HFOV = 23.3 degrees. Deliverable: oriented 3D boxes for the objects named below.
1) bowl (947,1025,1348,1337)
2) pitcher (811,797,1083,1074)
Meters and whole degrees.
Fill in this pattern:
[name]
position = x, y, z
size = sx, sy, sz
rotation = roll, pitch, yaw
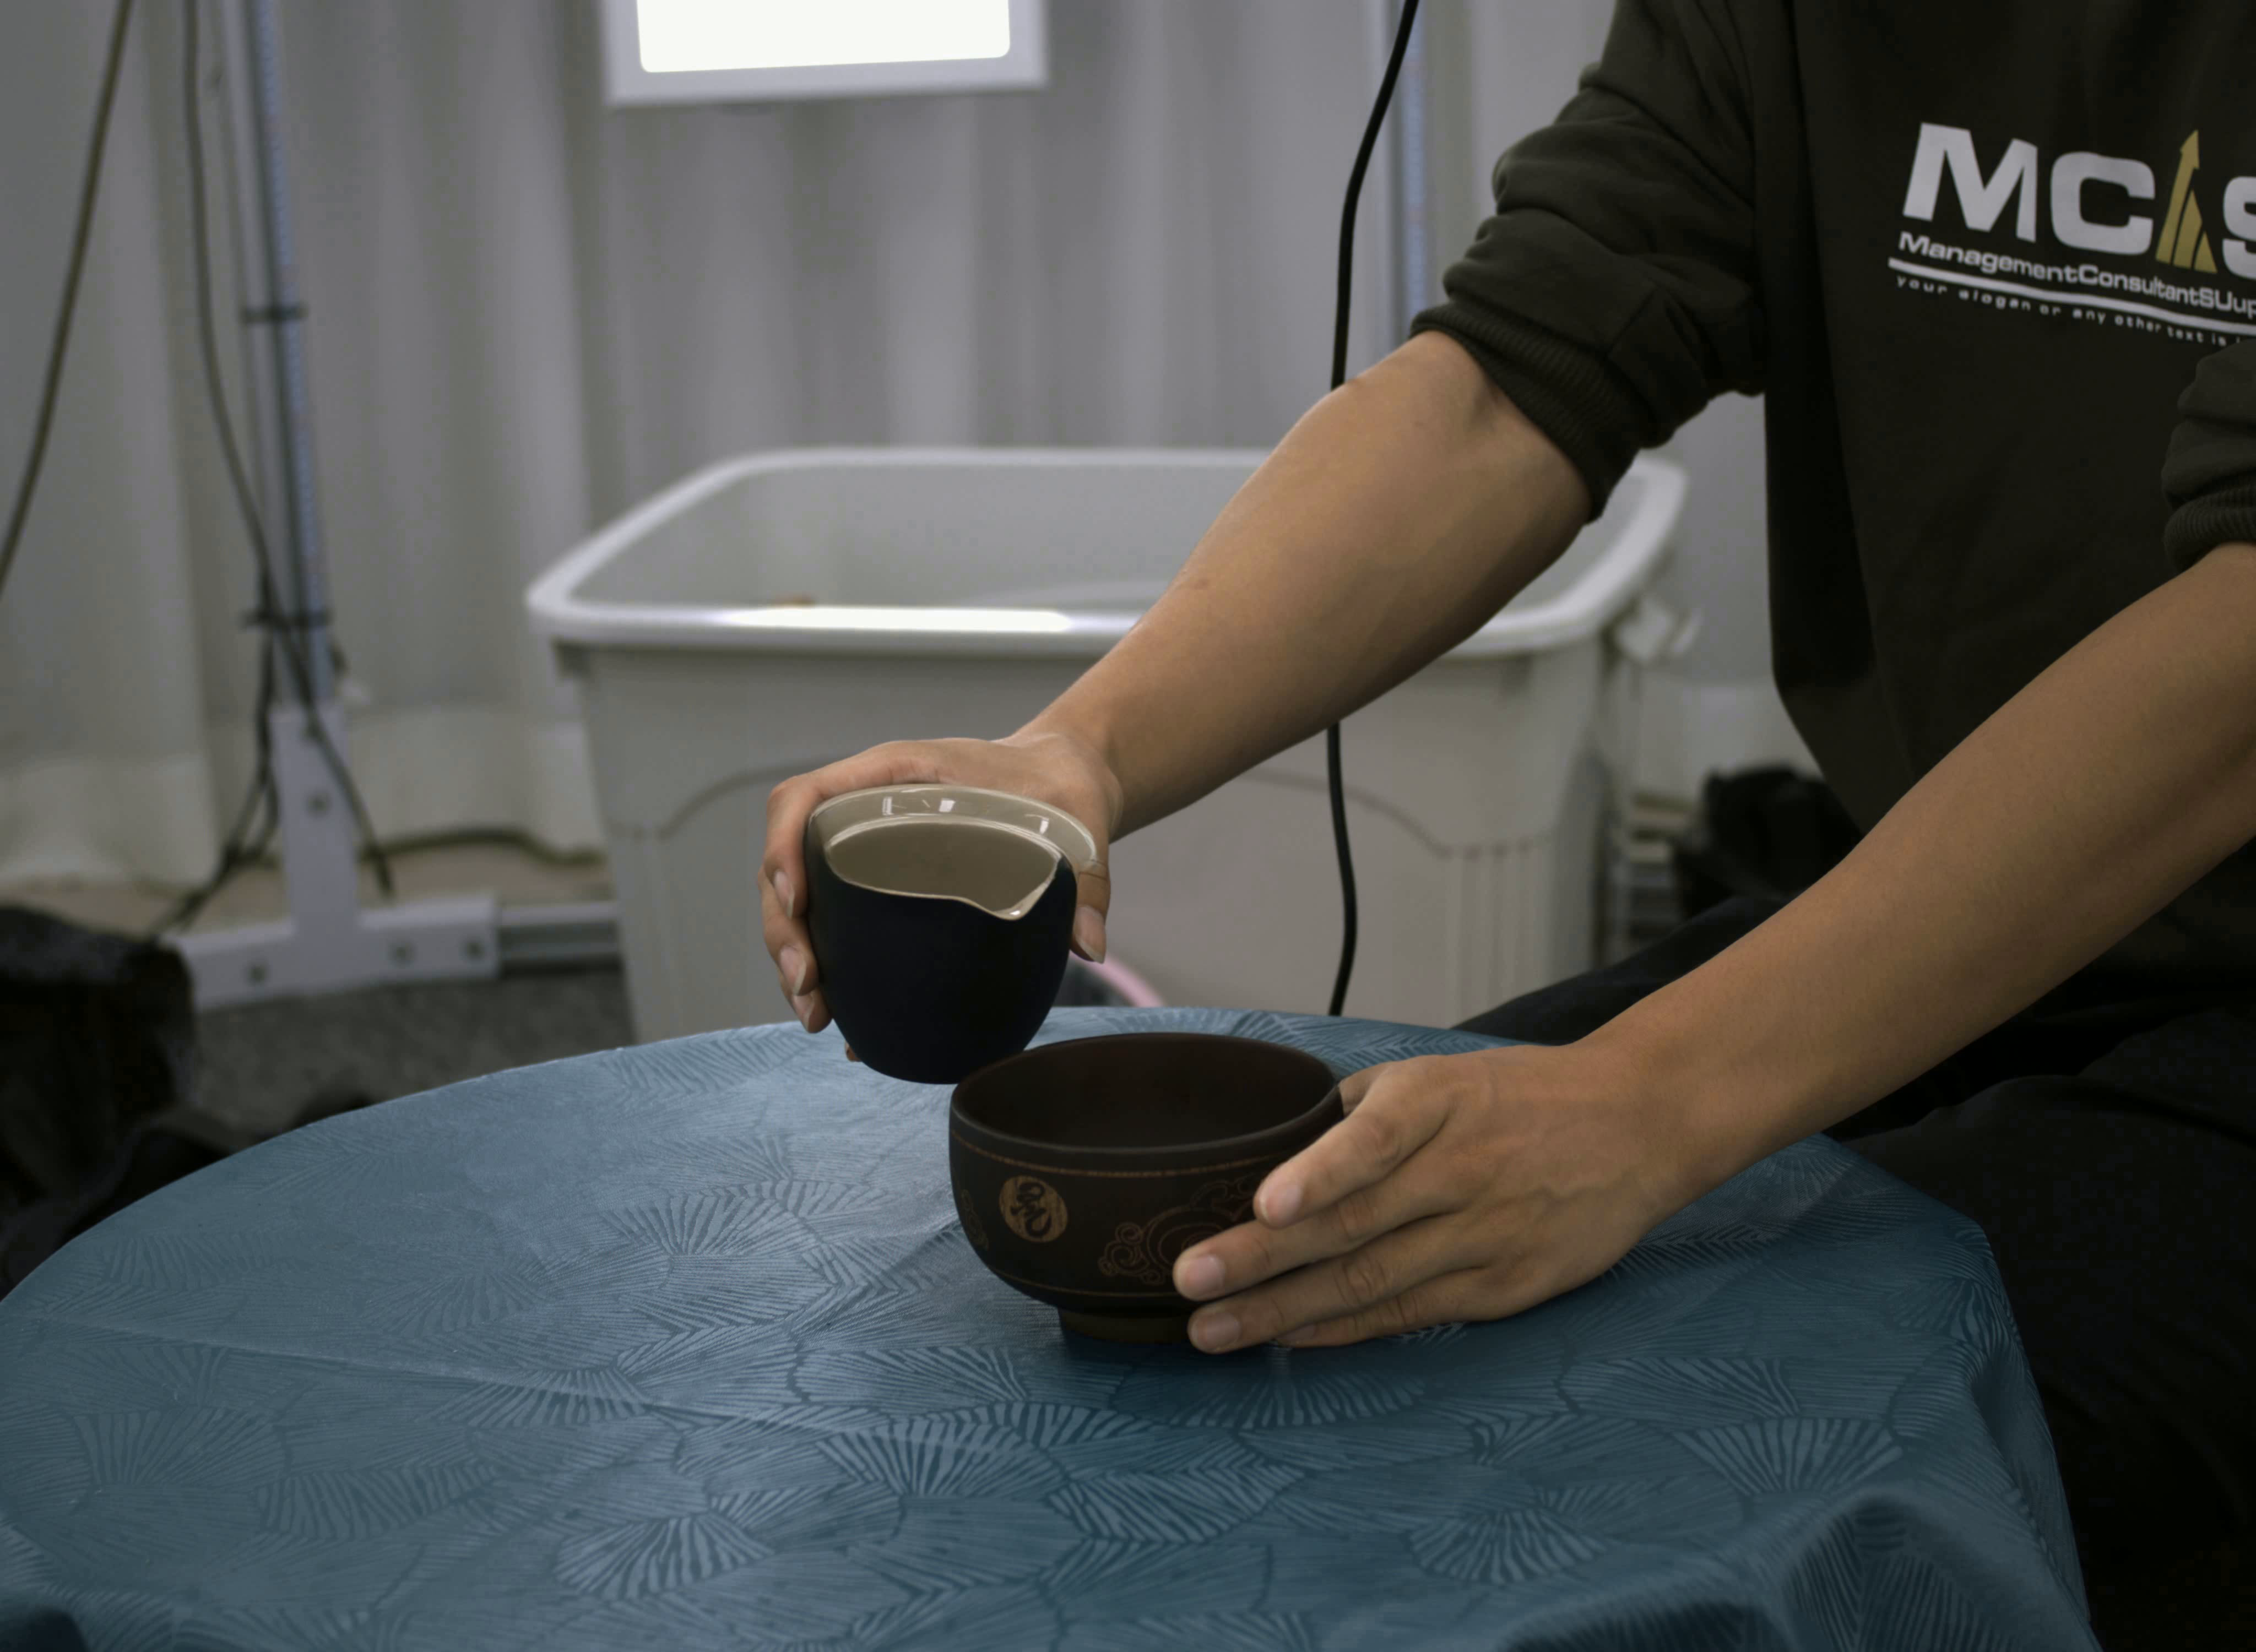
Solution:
[bowl]
position = 0.007, 0.108, 1.603
size = 0.117, 0.069, 0.119
rotation = -4, 15, 1
[pitcher]
position = -0.055, 0.036, 1.675
size = 0.083, 0.071, 0.097
rotation = -2, 21, -18
